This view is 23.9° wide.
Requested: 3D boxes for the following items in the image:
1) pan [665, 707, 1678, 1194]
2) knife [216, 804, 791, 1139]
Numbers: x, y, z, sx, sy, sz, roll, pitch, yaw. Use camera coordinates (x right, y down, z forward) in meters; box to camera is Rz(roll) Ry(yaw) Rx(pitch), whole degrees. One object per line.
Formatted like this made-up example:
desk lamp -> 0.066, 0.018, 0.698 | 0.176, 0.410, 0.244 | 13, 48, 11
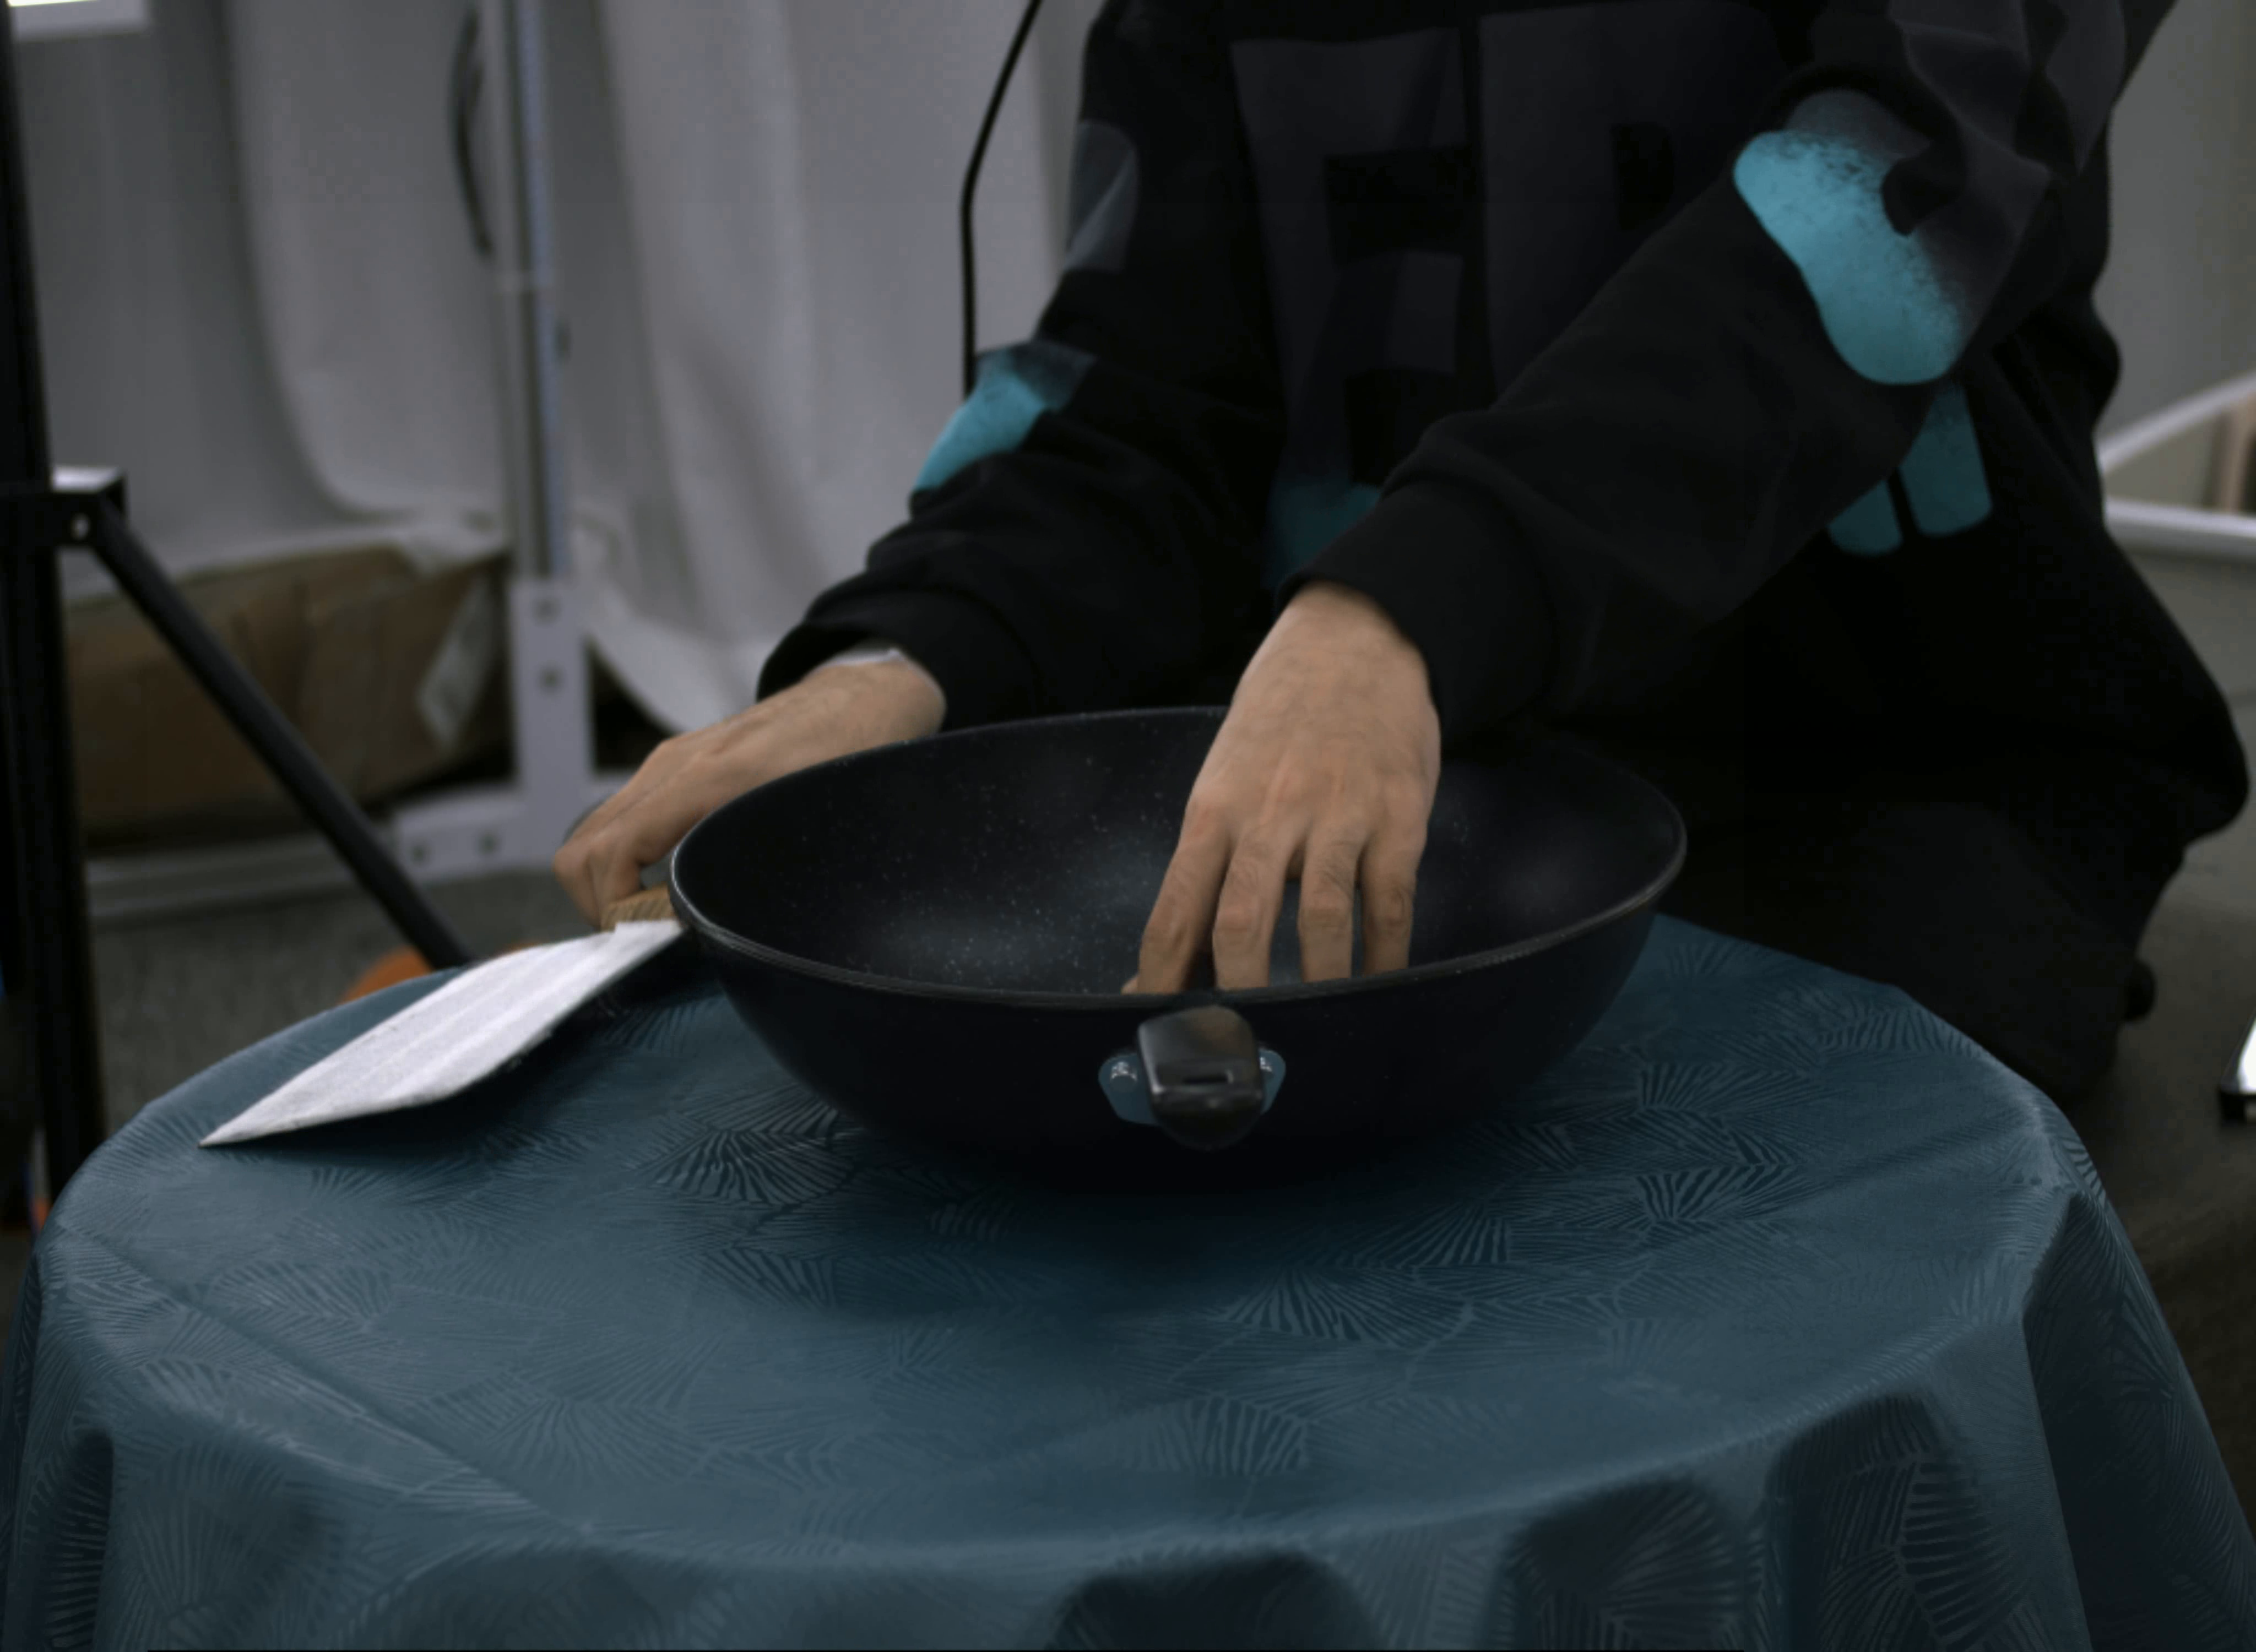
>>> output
pan -> 0.016, 0.056, 1.545 | 0.309, 0.111, 0.479 | -4, 16, 1
knife -> -0.182, 0.046, 1.751 | 0.115, 0.022, 0.311 | -10, 12, 29
